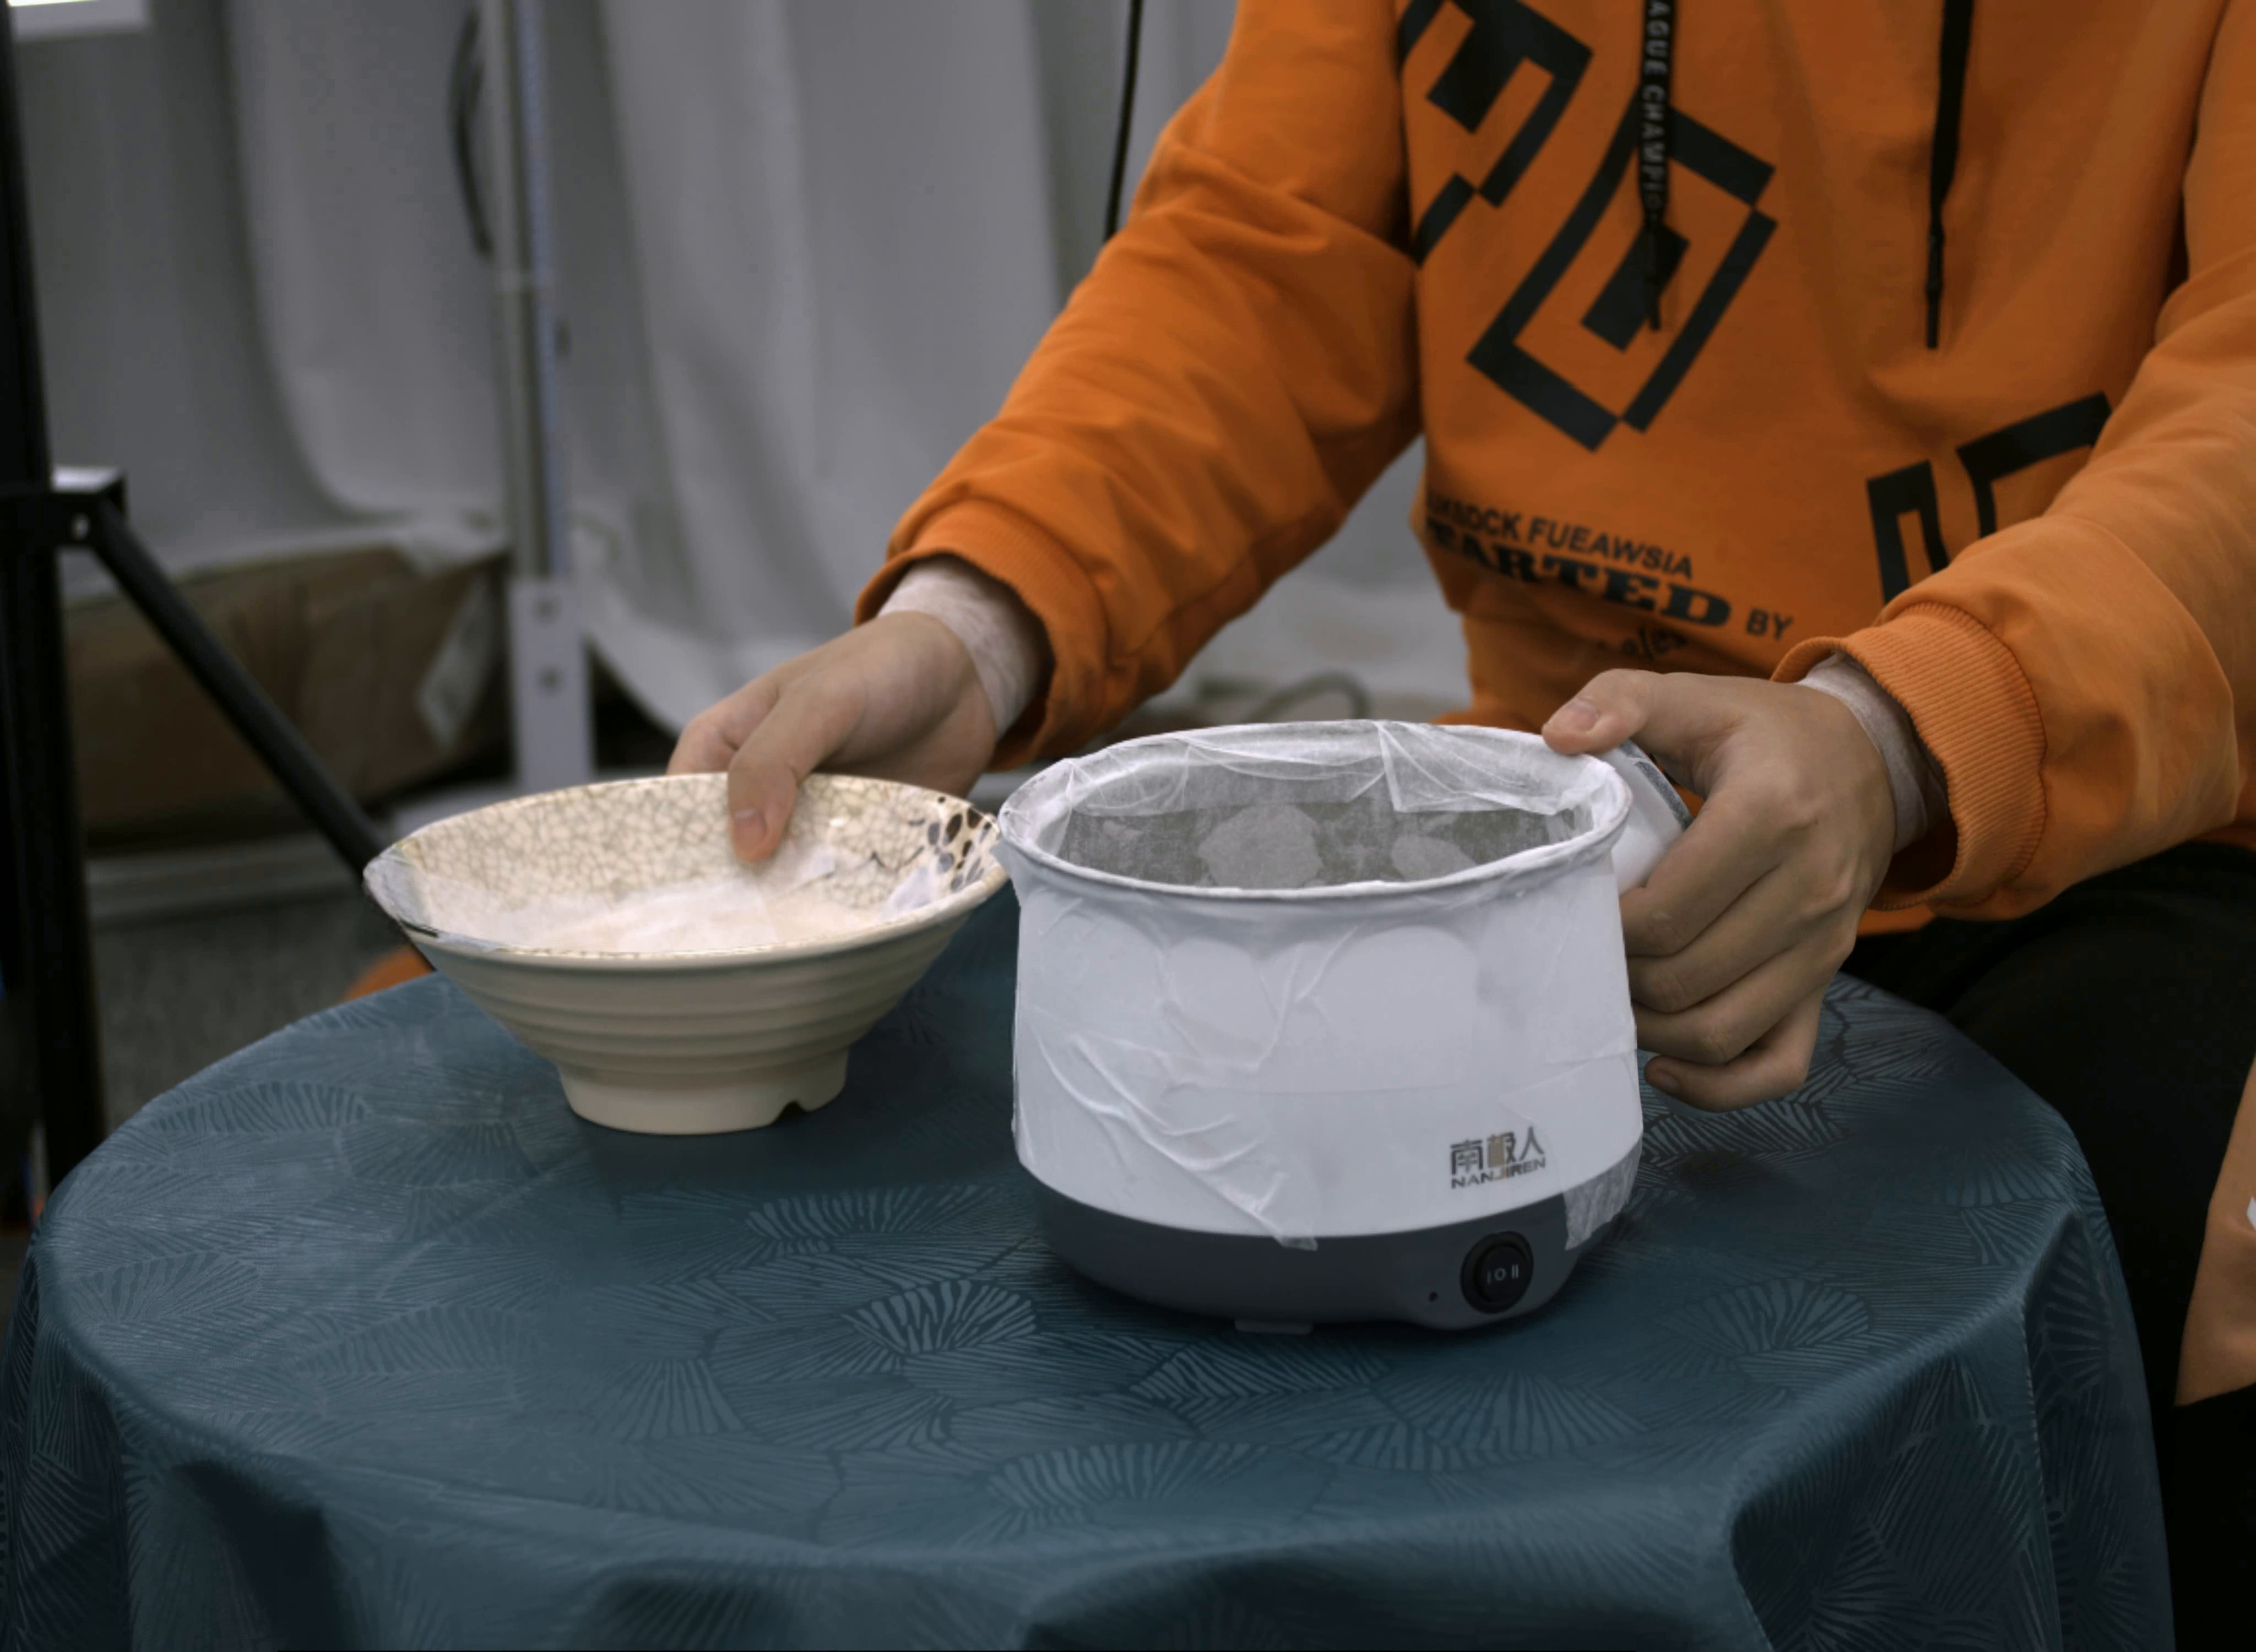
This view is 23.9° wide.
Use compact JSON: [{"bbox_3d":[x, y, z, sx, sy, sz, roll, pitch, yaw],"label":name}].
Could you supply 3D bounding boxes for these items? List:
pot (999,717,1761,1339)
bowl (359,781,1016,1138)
[{"bbox_3d":[0.078,0.050,1.499,0.228,0.136,0.182,-12,18,-29],"label":"pot"},{"bbox_3d":[-0.135,0.047,1.657,0.203,0.078,0.205,-2,14,-1],"label":"bowl"}]
